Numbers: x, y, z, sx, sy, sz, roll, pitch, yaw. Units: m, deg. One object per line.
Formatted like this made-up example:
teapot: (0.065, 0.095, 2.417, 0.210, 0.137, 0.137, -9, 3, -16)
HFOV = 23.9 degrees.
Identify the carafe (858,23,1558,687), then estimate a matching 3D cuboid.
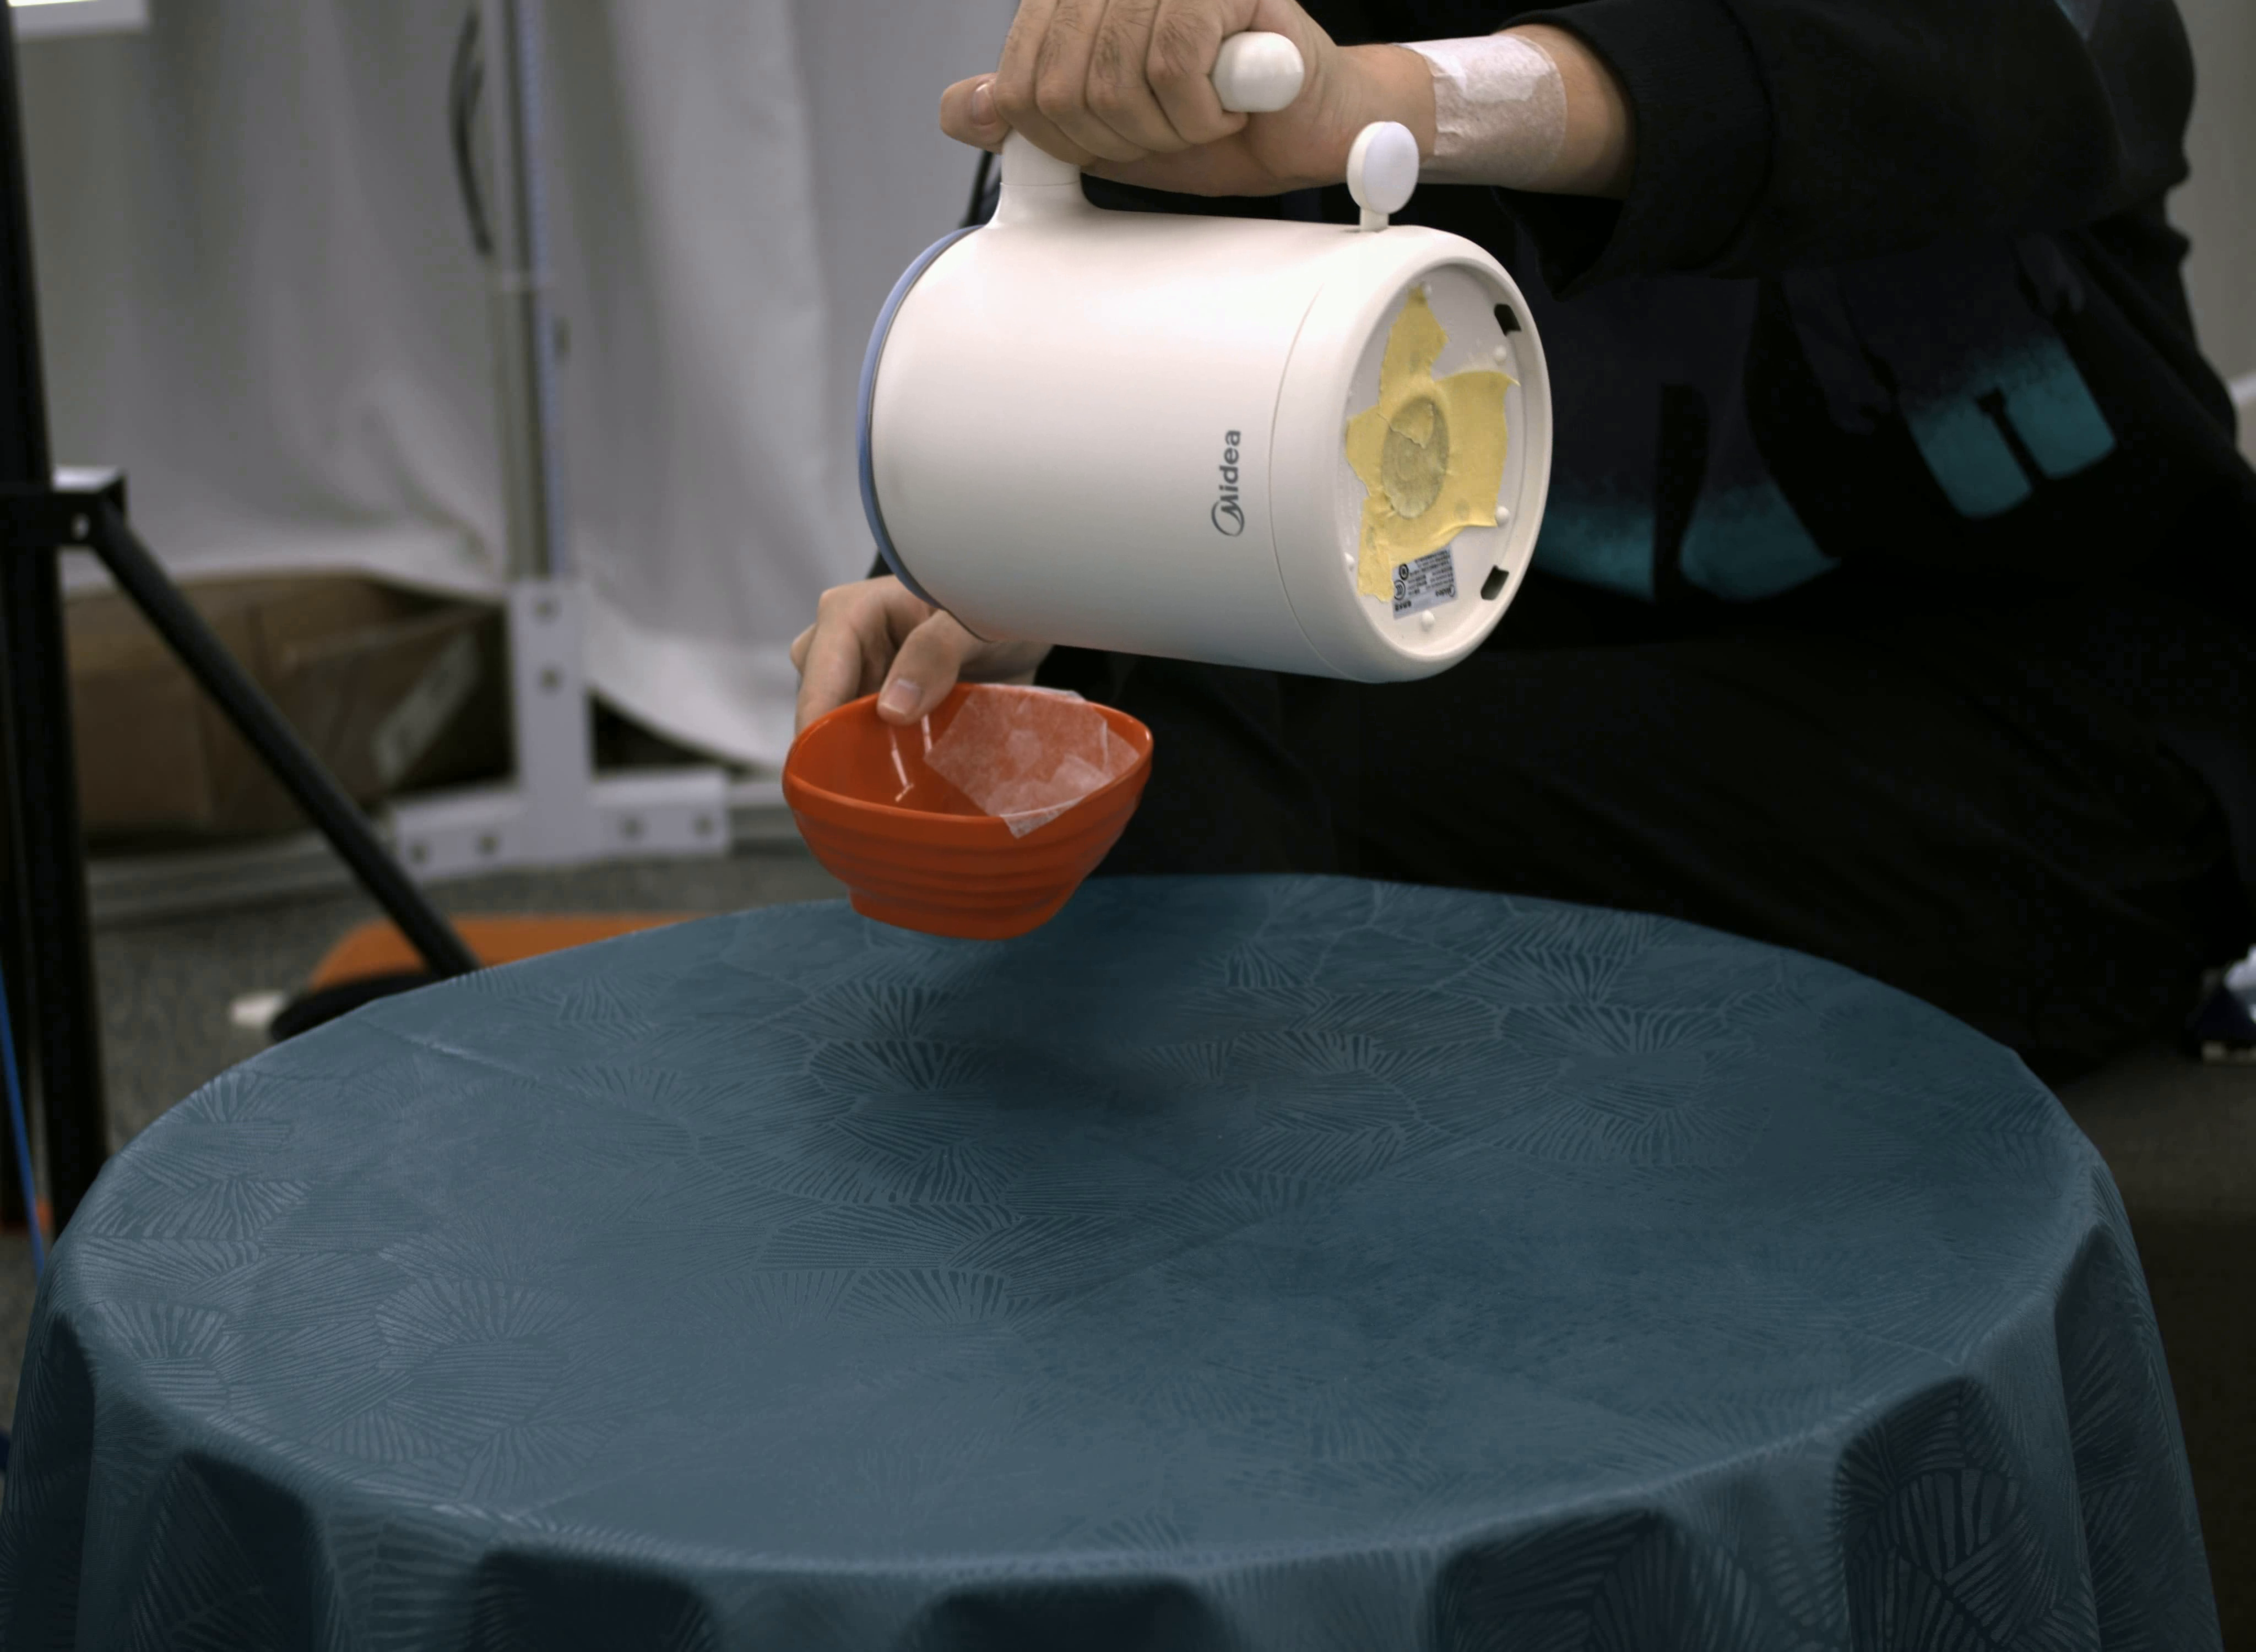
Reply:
carafe: (0.024, -0.138, 1.559, 0.186, 0.191, 0.129, 10, 15, 34)

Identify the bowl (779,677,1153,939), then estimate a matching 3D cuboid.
bowl: (-0.049, -0.003, 1.665, 0.118, 0.051, 0.120, -3, 23, 0)
